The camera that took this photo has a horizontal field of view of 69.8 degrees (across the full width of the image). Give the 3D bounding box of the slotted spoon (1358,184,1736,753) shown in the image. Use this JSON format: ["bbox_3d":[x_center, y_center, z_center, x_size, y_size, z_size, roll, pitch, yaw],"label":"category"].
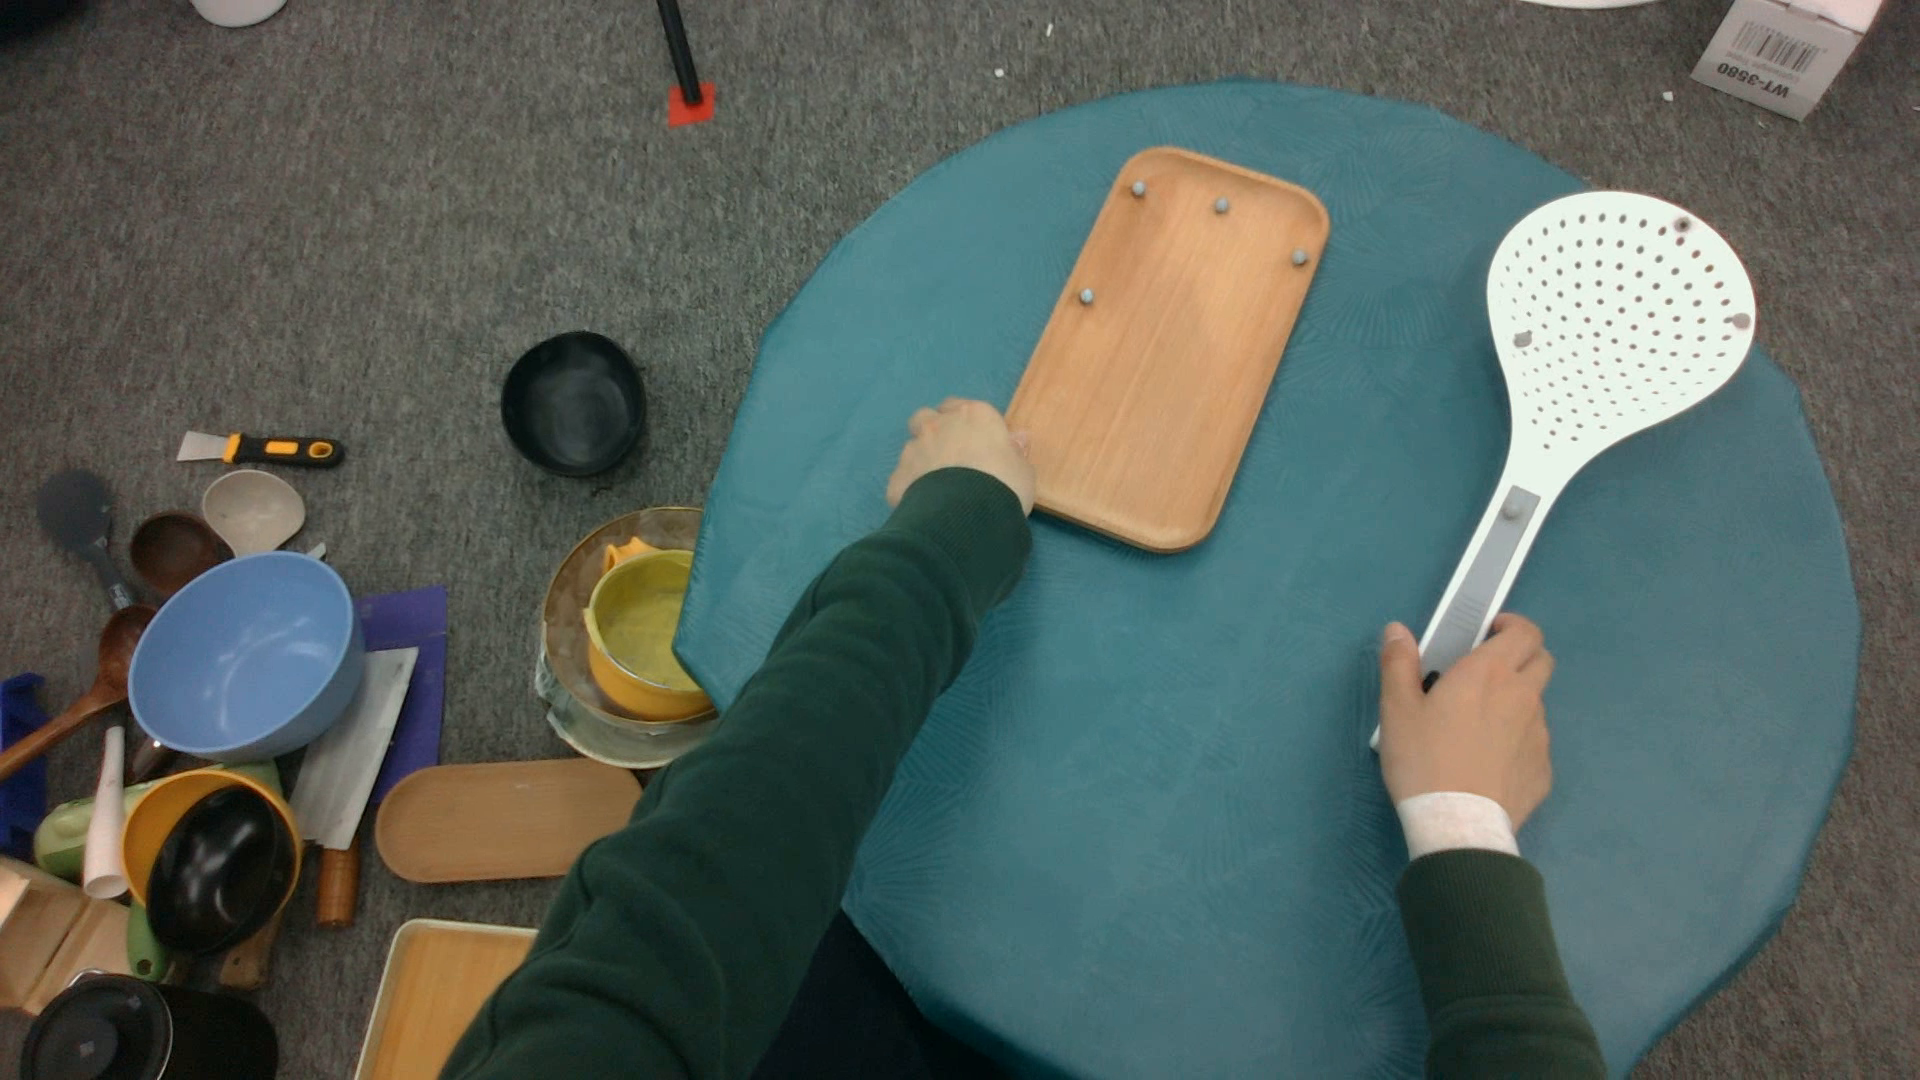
[{"bbox_3d":[0.293,-0.044,0.721,0.136,0.045,0.351,26,69,16],"label":"slotted spoon"}]

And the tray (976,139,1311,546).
[{"bbox_3d":[0.106,-0.116,0.771,0.130,0.023,0.251,20,68,11],"label":"tray"}]
